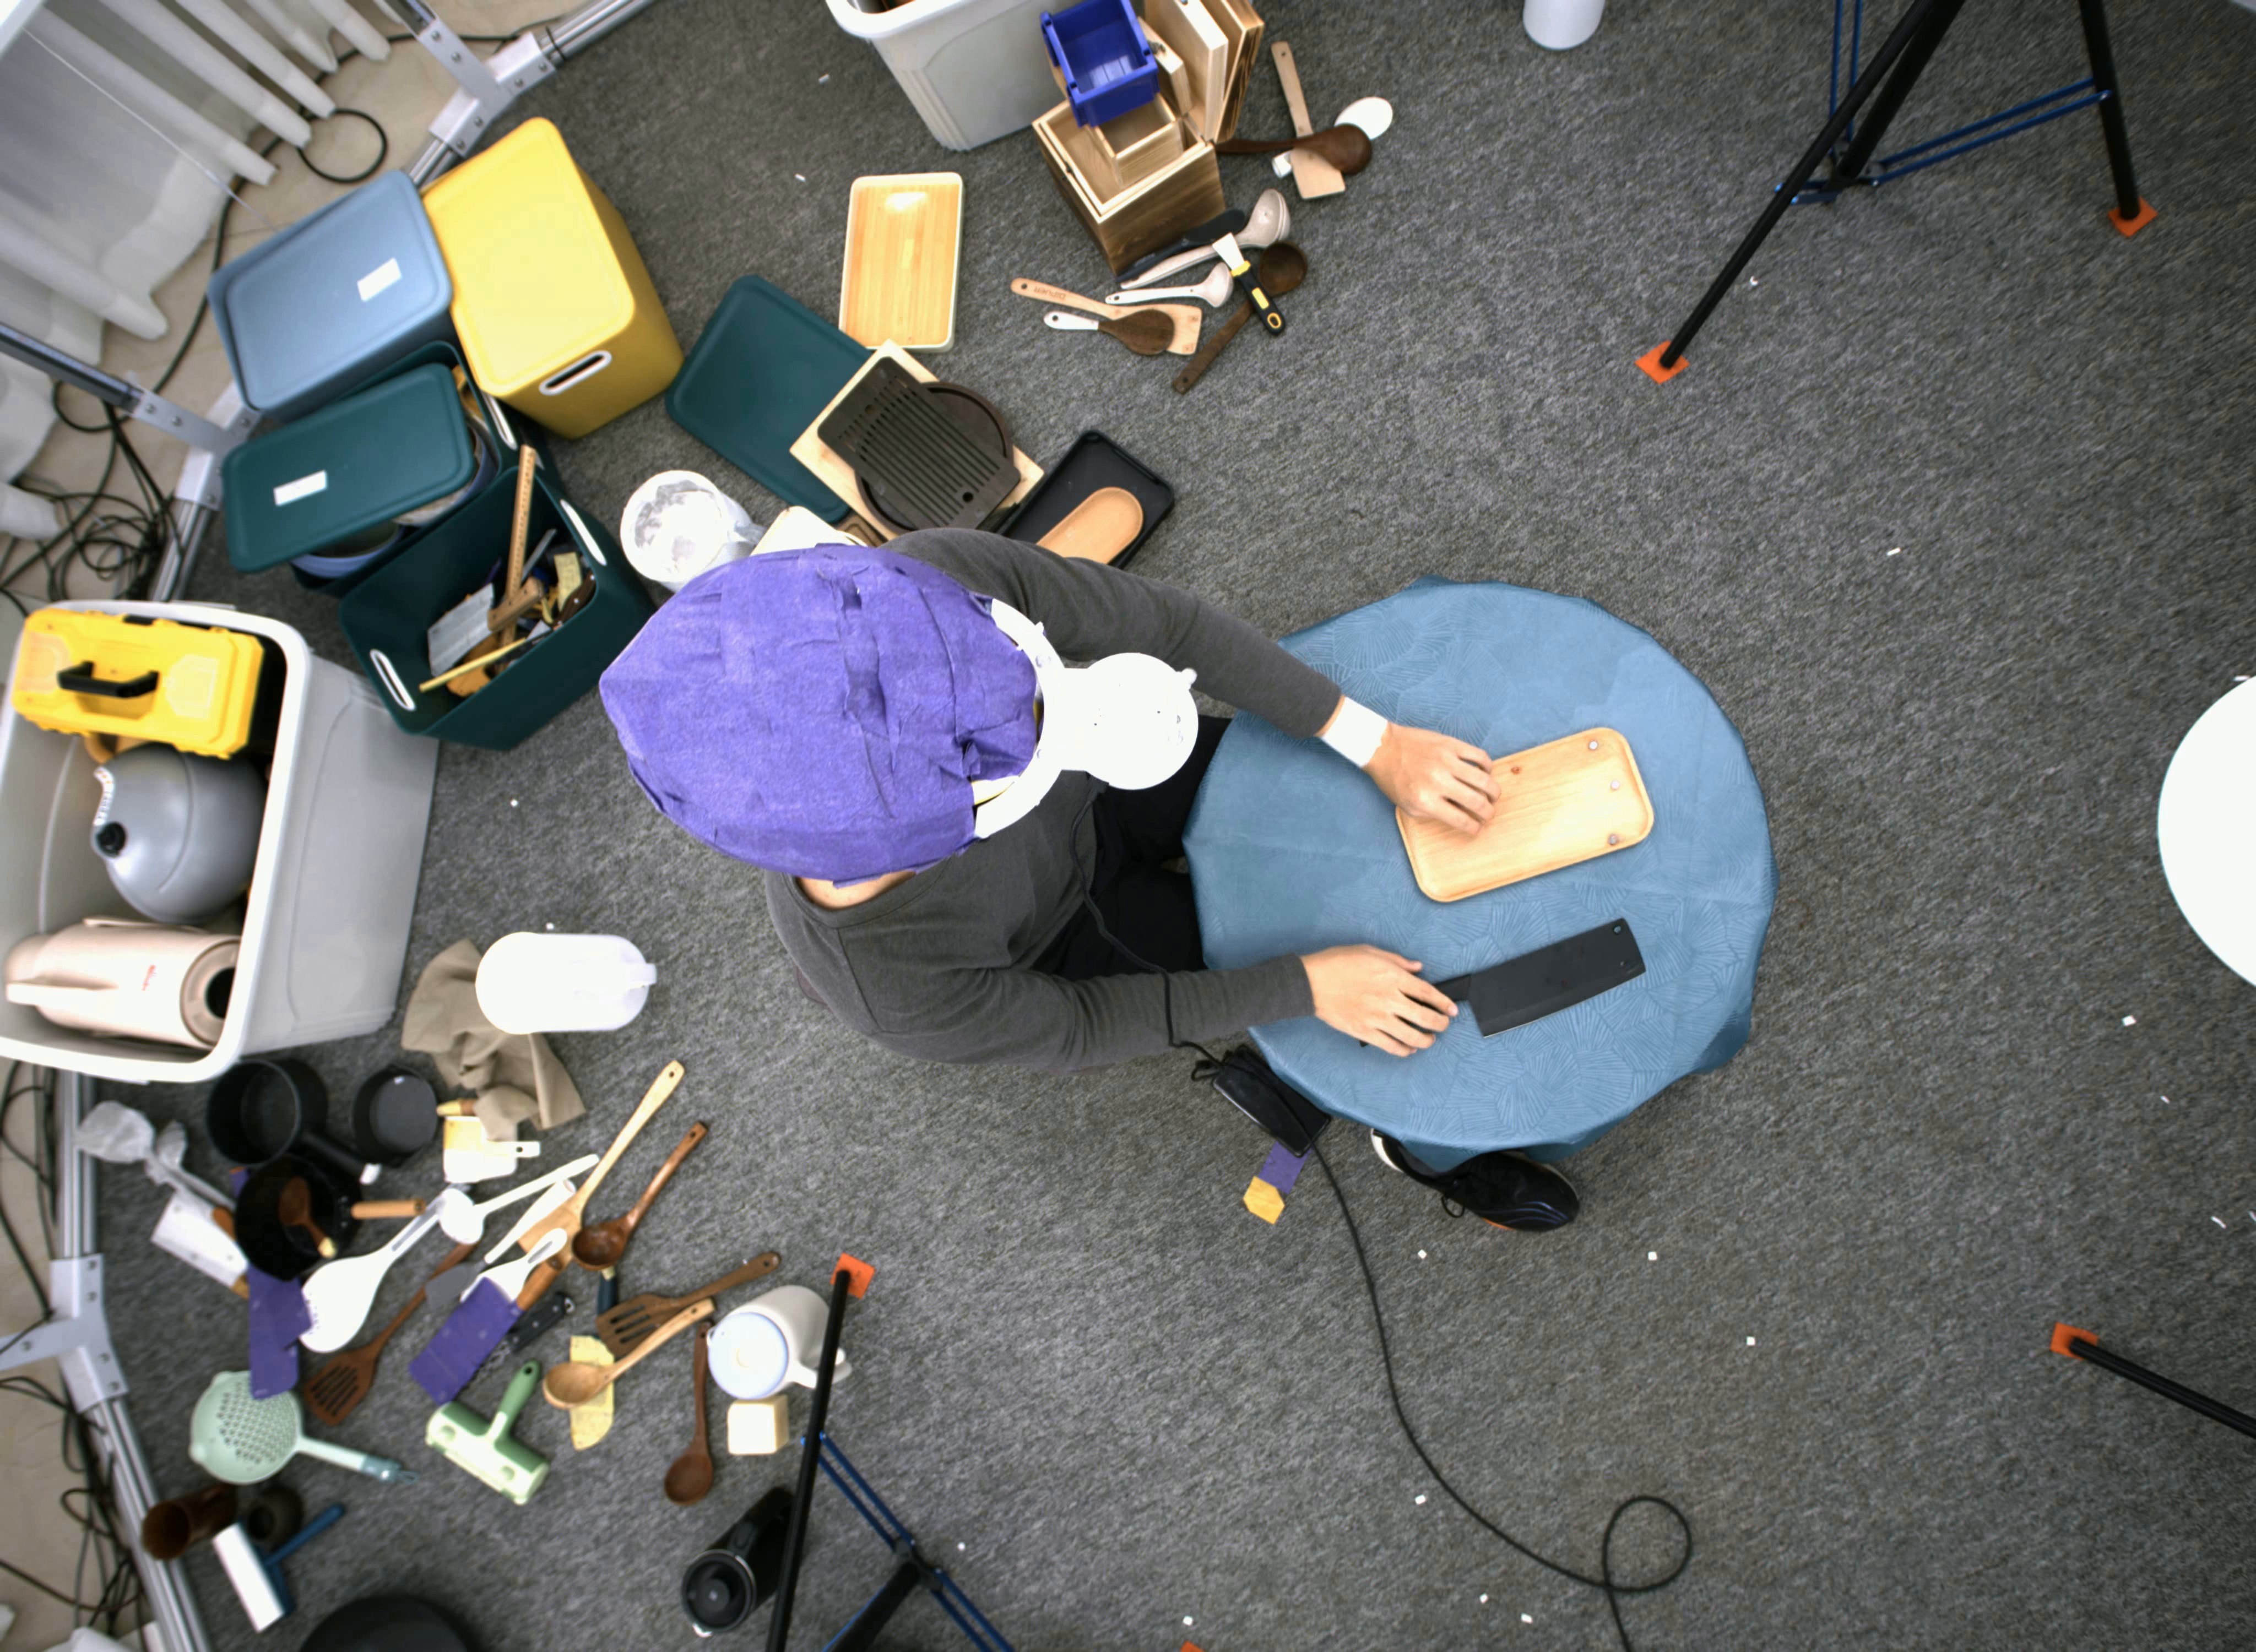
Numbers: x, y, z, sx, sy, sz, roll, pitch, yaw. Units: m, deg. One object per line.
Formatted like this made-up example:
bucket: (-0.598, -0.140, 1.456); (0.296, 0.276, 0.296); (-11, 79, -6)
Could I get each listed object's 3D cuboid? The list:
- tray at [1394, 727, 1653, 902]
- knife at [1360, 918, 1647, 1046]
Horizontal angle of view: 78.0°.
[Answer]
tray: (0.410, -0.013, 1.430); (0.252, 0.023, 0.129); (-18, 81, 10)
knife: (0.384, 0.171, 1.426); (0.304, 0.021, 0.080); (-17, 86, 8)
